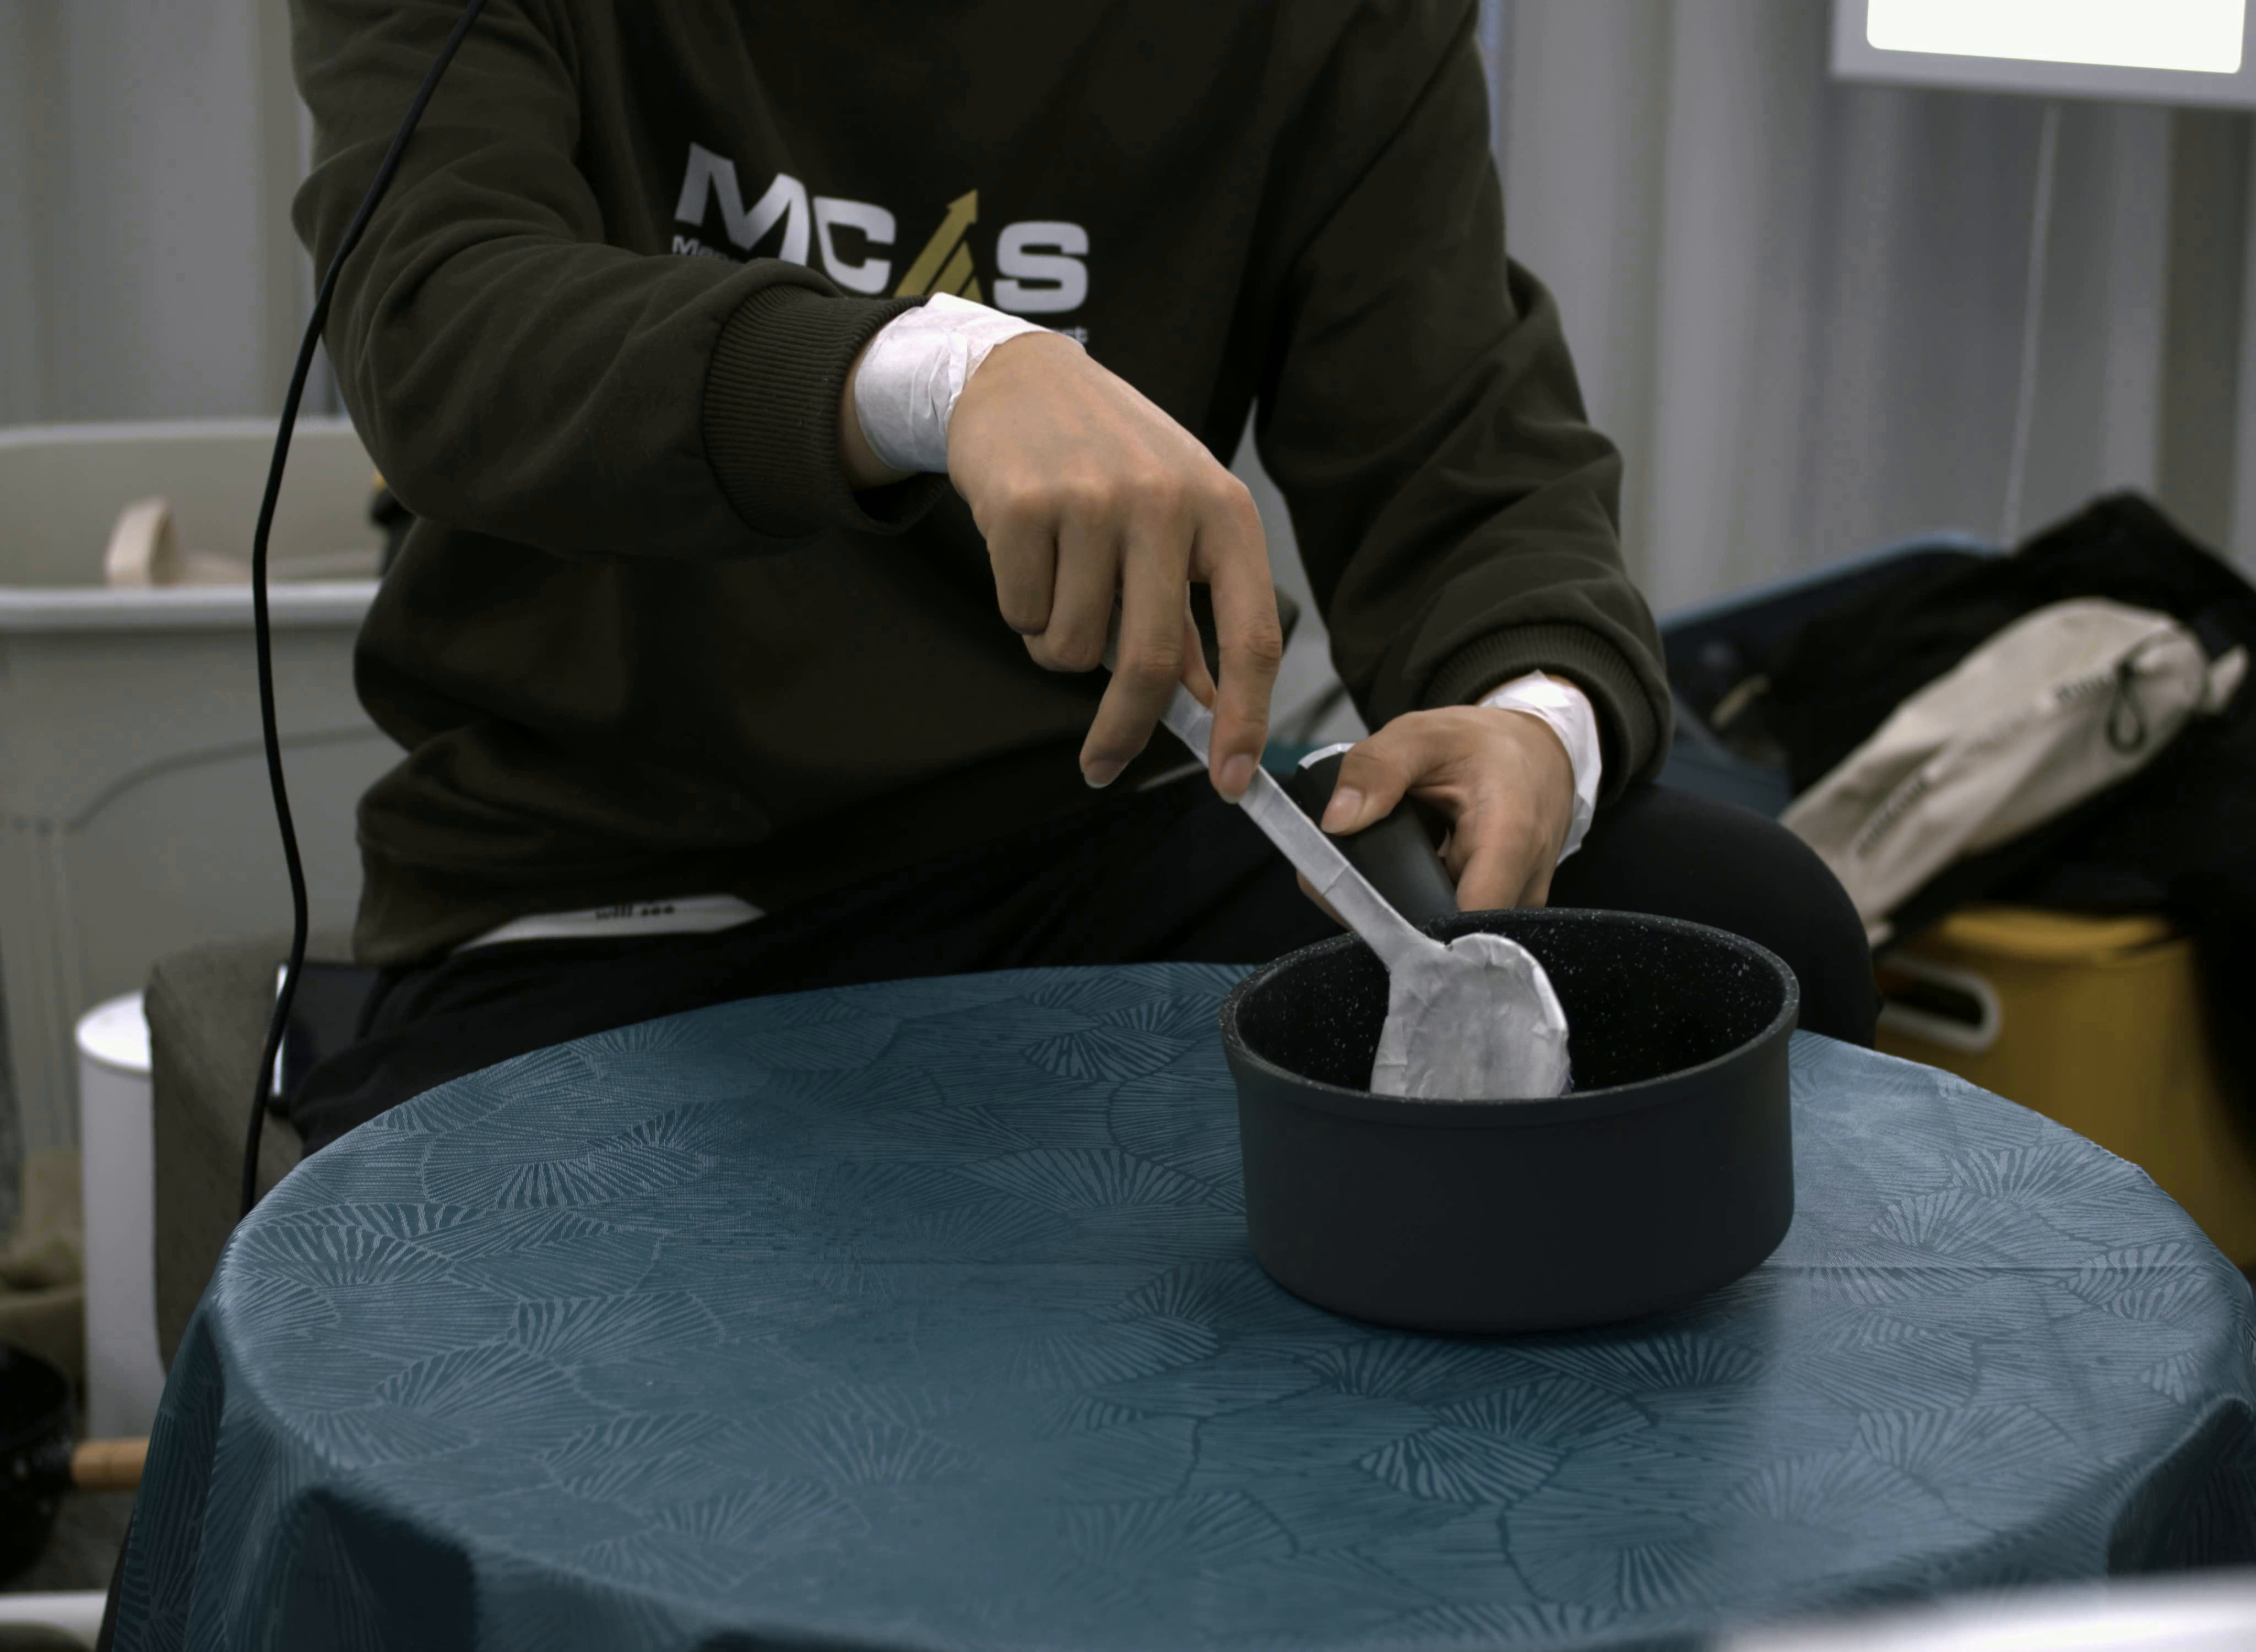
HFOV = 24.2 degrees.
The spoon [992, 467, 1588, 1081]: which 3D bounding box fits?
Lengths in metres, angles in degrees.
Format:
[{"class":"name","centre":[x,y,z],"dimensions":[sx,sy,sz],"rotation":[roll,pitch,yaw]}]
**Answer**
[{"class":"spoon","centre":[0.040,-0.004,1.575],"dimensions":[0.276,0.101,0.059],"rotation":[49,27,9]}]

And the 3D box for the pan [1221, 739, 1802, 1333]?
[{"class":"pan","centre":[0.105,0.060,1.633],"dimensions":[0.172,0.087,0.326],"rotation":[-5,18,-6]}]
